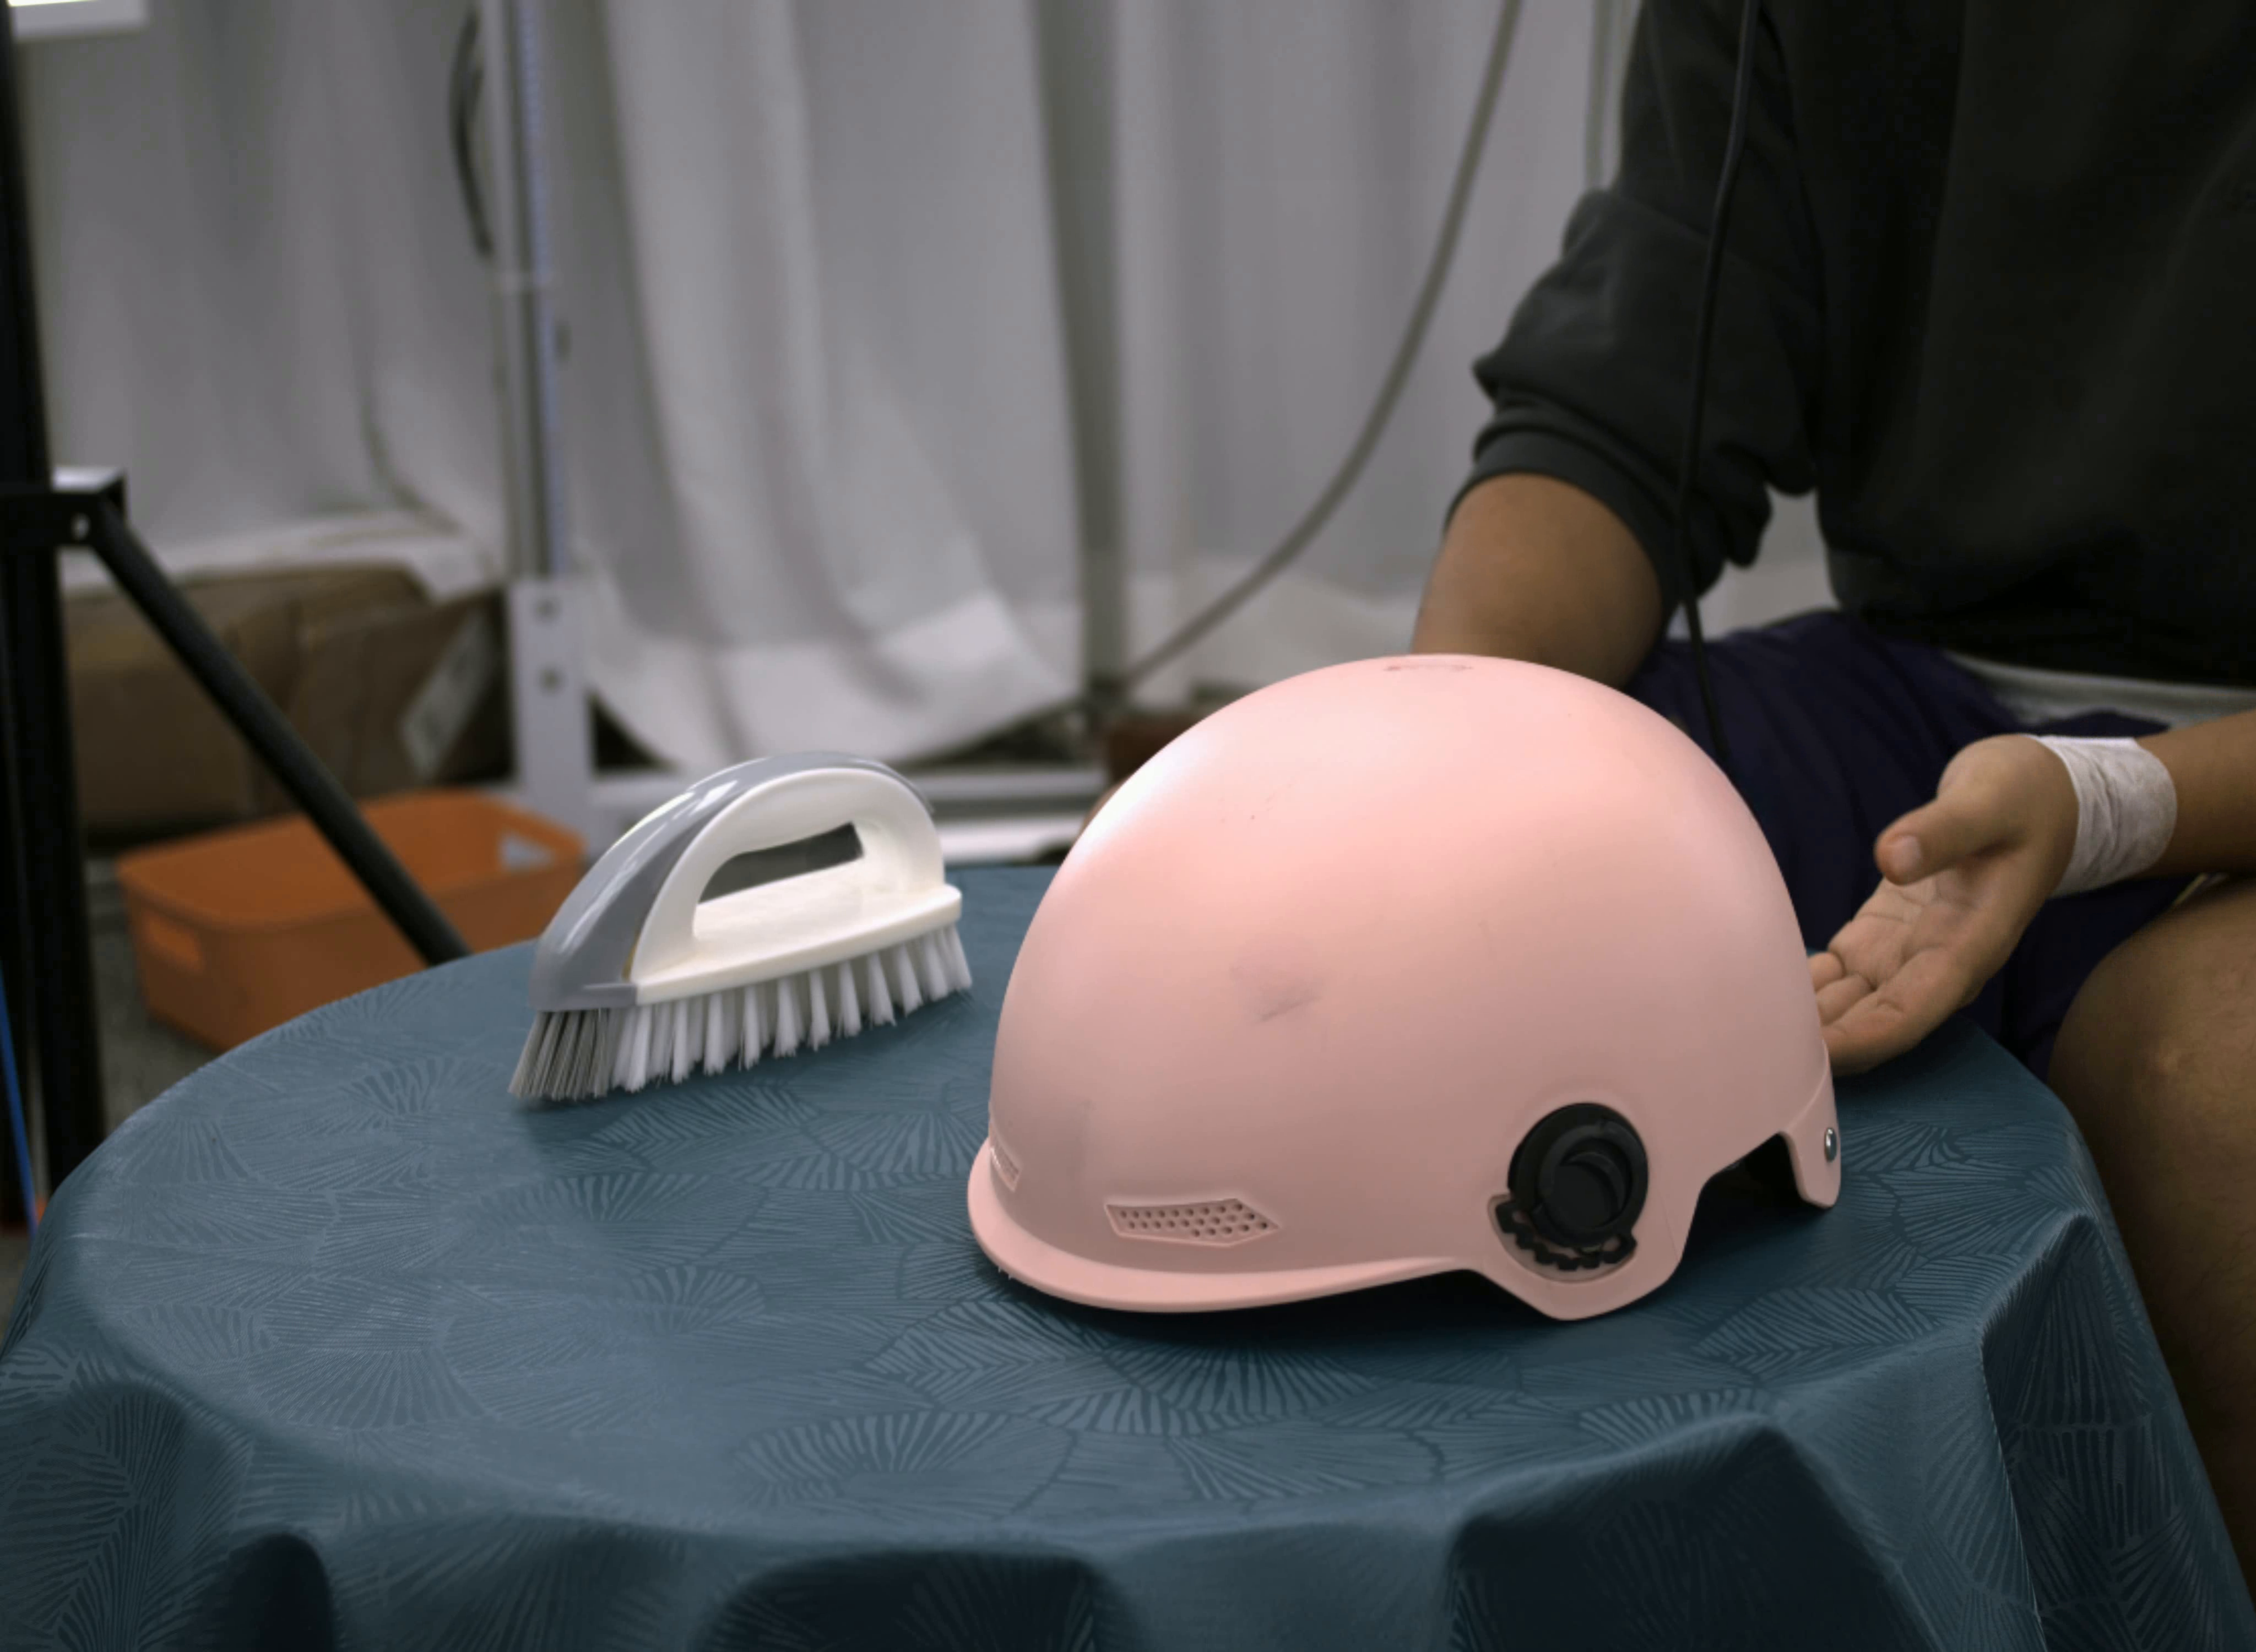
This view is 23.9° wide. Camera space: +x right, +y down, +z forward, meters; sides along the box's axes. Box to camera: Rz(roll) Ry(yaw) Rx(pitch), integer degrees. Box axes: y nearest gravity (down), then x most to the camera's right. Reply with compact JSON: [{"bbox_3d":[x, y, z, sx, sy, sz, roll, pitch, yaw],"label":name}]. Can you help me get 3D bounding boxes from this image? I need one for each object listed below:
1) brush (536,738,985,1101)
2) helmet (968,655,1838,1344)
[{"bbox_3d":[-0.124,0.026,1.702,0.171,0.094,0.063,-19,21,-41],"label":"brush"},{"bbox_3d":[0.075,0.038,1.519,0.260,0.158,0.239,-18,22,-34],"label":"helmet"}]
